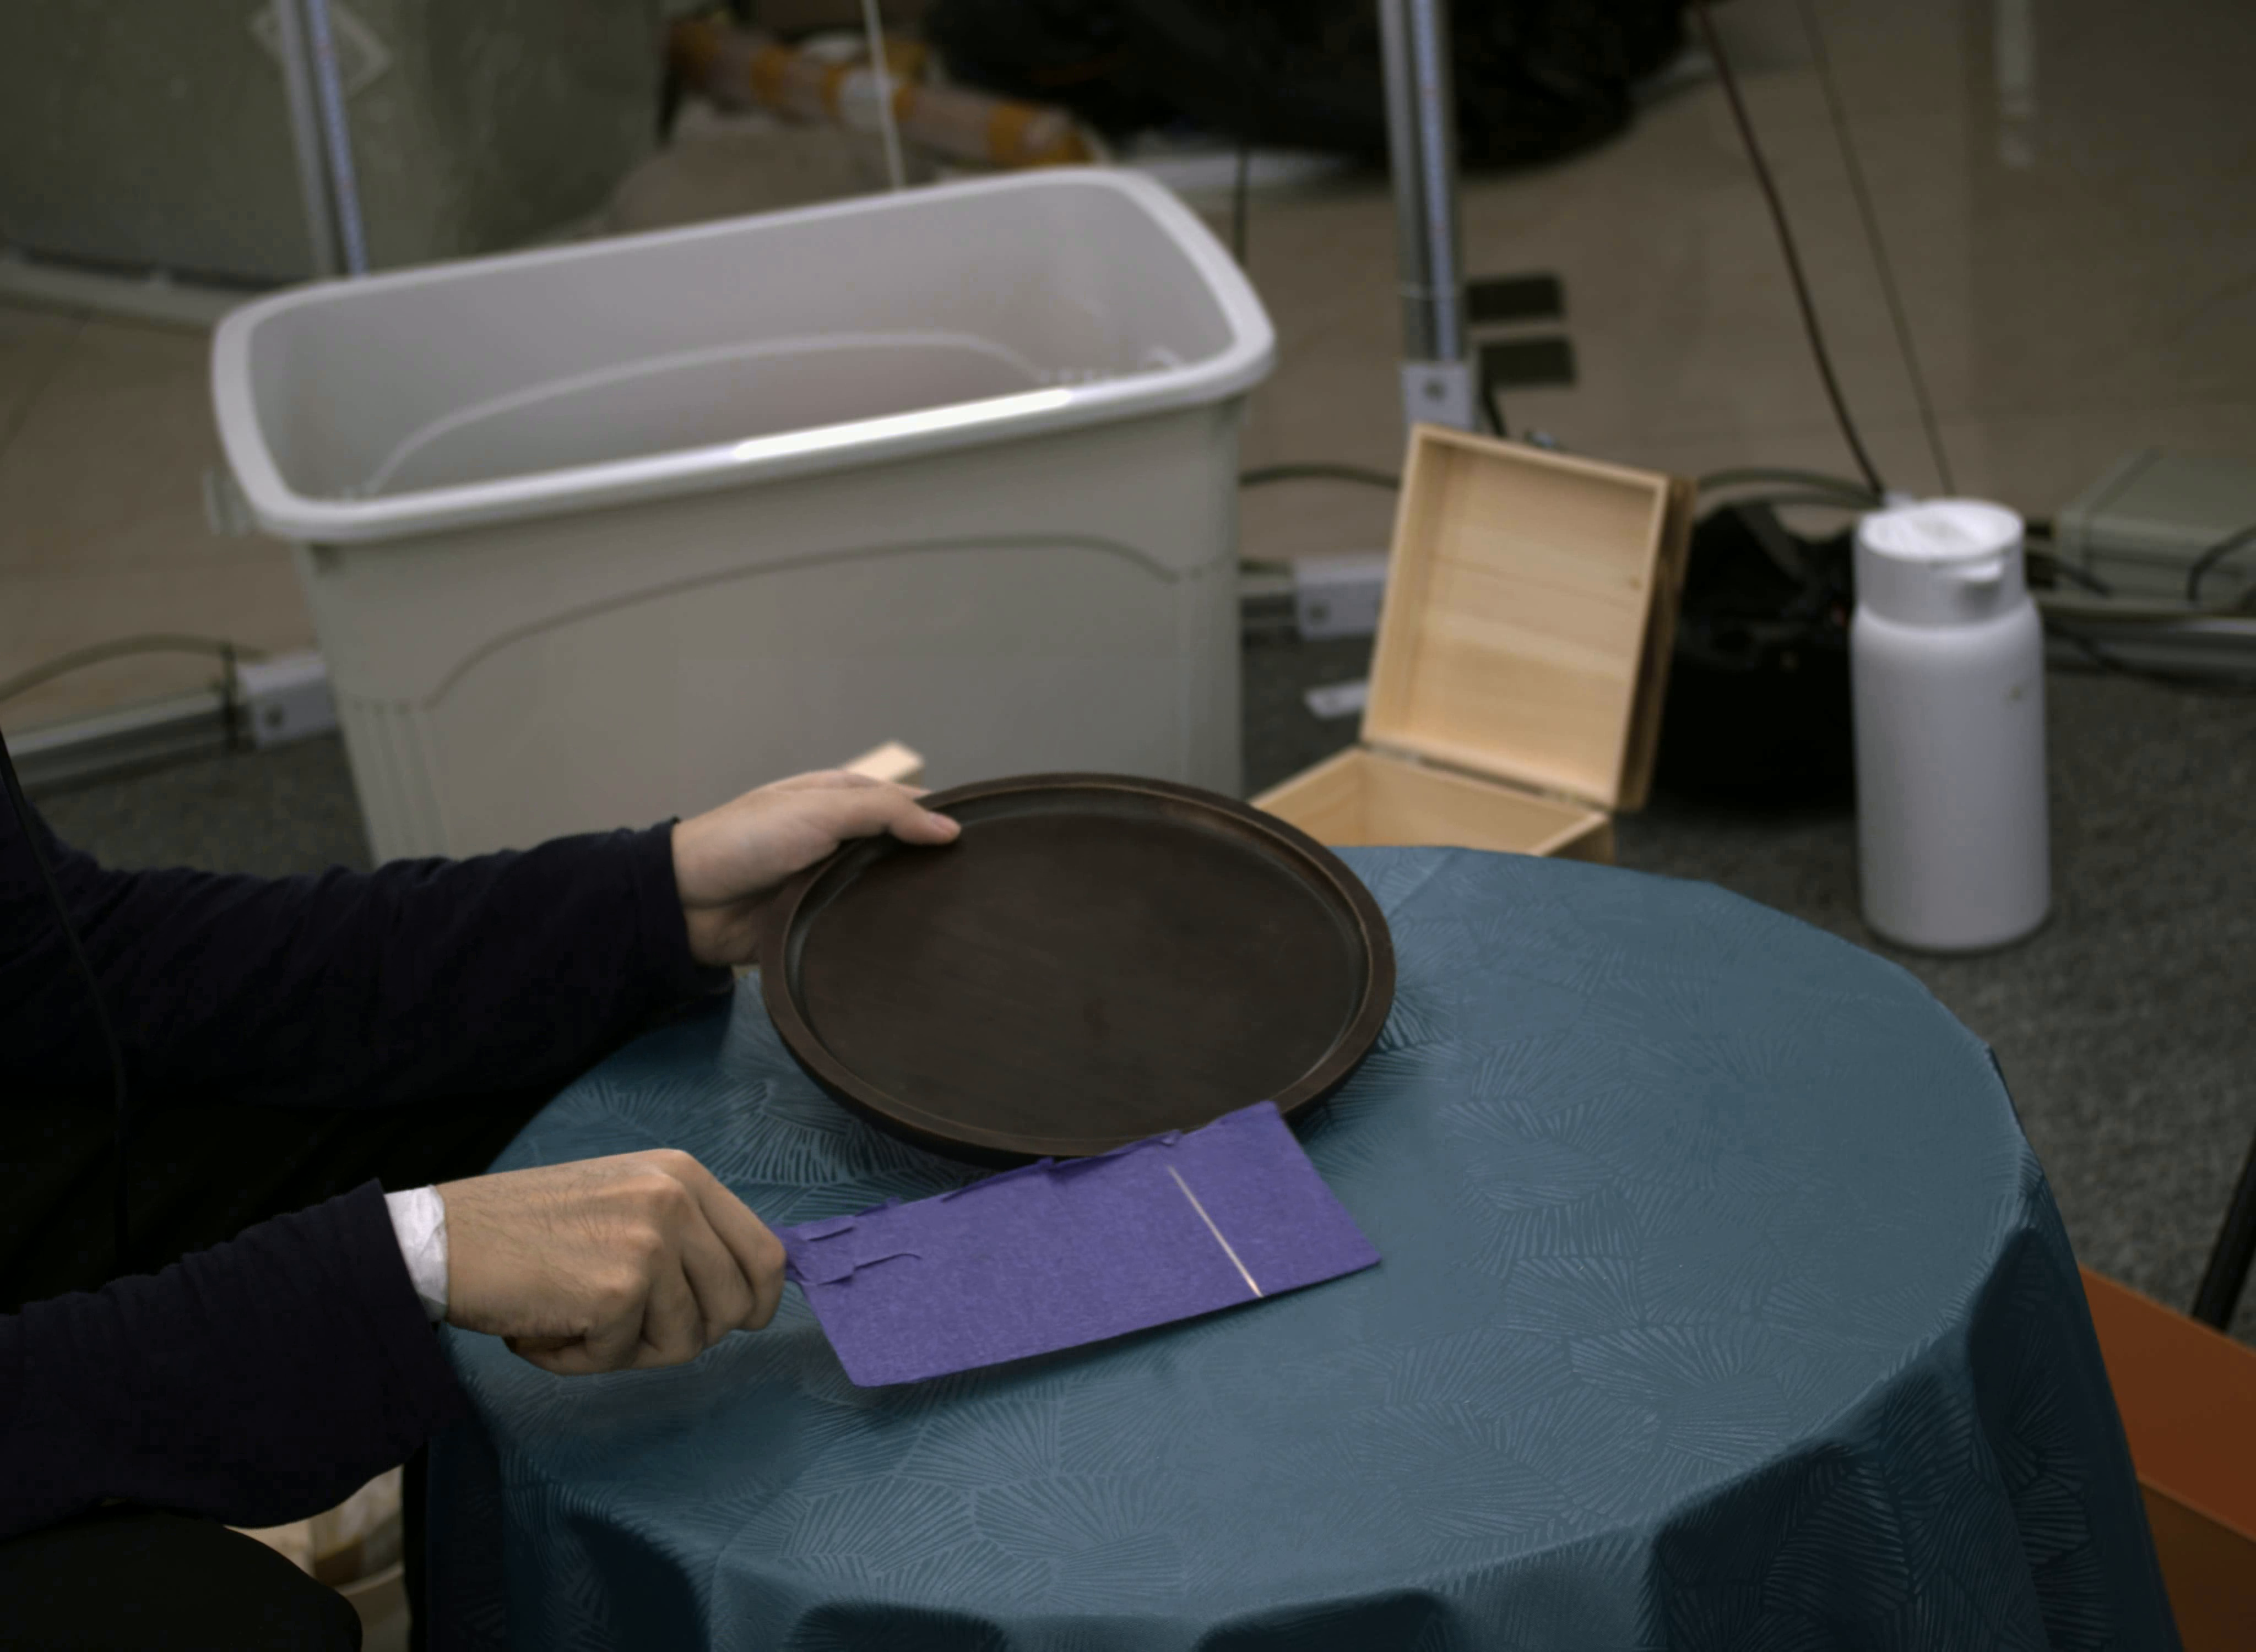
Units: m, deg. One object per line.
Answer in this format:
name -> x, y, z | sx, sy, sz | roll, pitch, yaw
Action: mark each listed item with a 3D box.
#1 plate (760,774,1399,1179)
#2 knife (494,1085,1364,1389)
plate -> -0.020, 0.058, 2.241 | 0.254, 0.029, 0.250 | 2, 37, -1
knife -> -0.068, 0.160, 2.055 | 0.314, 0.033, 0.102 | -15, 41, -20
